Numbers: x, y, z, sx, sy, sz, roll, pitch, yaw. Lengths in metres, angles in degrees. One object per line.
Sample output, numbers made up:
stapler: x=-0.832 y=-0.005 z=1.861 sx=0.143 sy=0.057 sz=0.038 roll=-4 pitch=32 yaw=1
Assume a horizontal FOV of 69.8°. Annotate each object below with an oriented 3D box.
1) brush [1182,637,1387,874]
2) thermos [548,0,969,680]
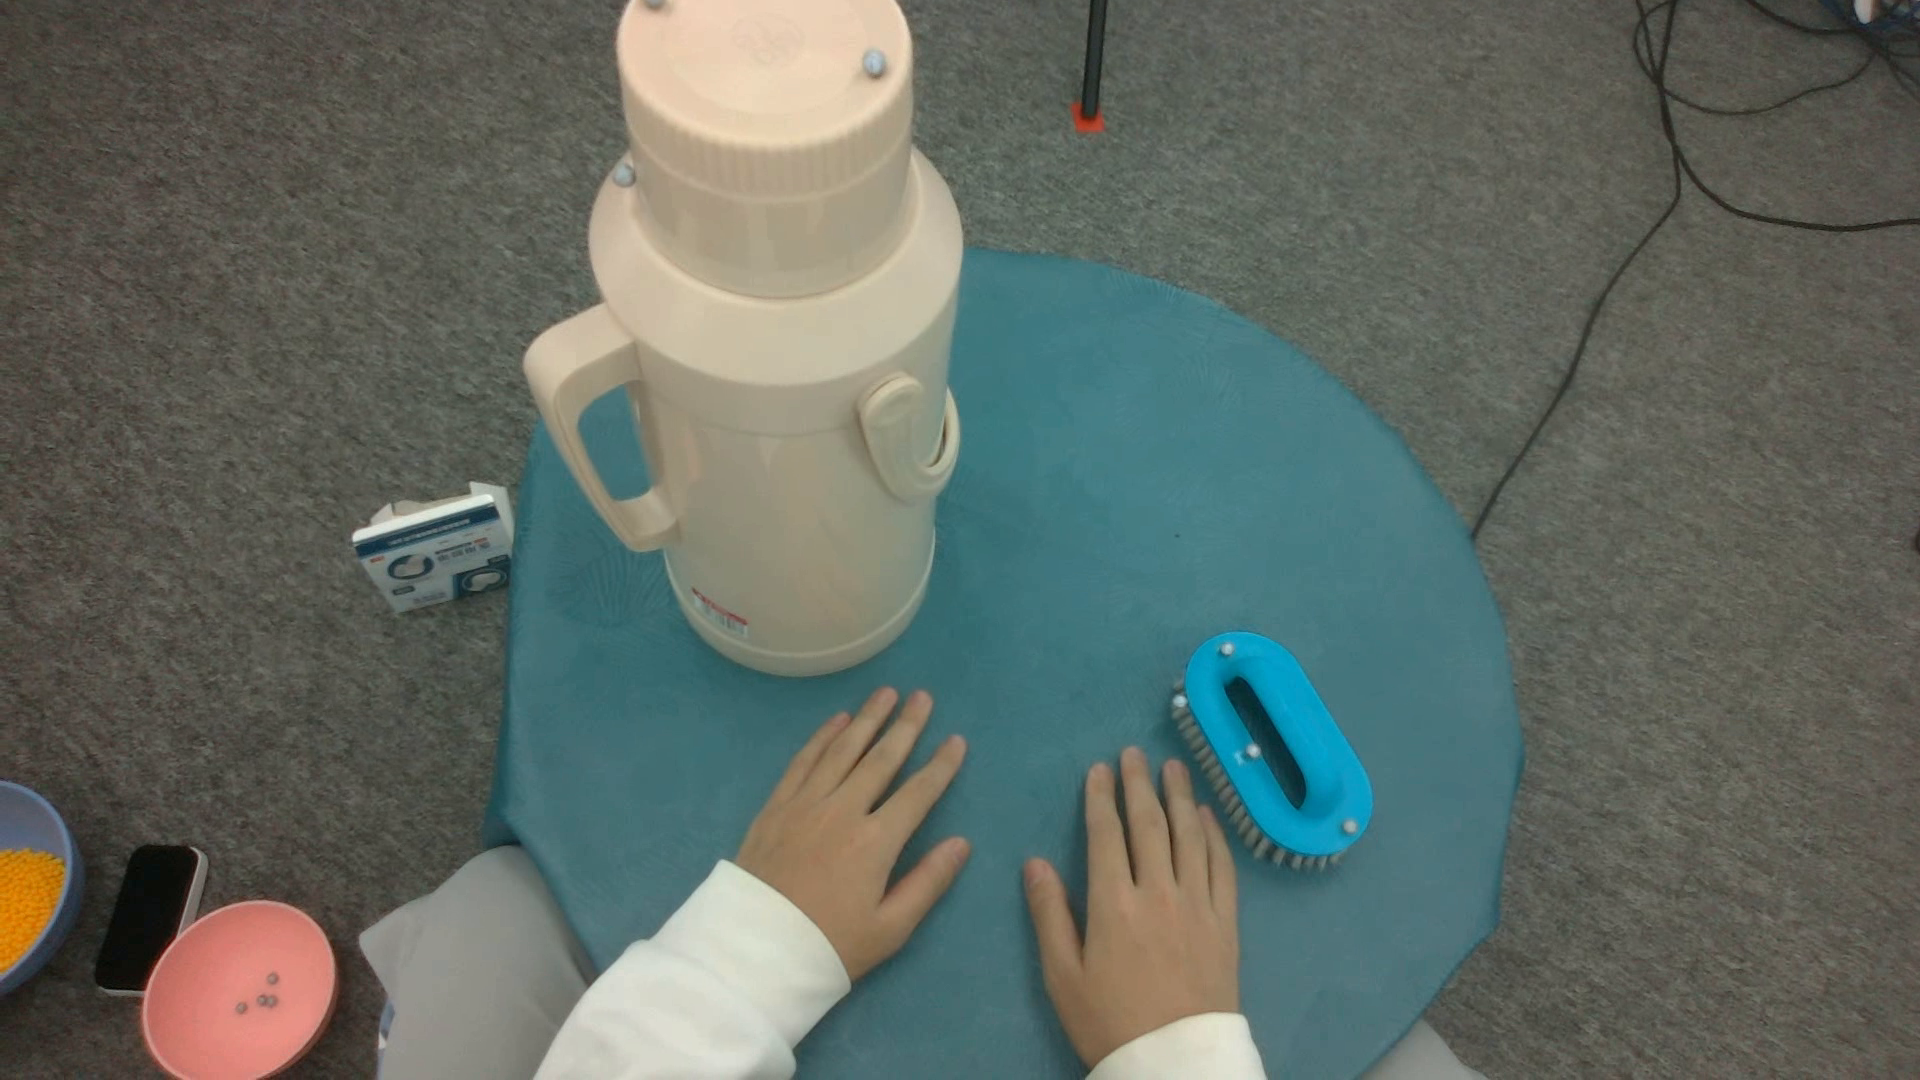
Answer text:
brush: x=0.189 y=0.113 z=0.782 sx=0.084 sy=0.063 sz=0.142 roll=-17 pitch=64 yaw=-18
thermos: x=-0.090 y=-0.072 z=0.680 sx=0.207 sy=0.404 sz=0.175 roll=-33 pitch=69 yaw=-19
